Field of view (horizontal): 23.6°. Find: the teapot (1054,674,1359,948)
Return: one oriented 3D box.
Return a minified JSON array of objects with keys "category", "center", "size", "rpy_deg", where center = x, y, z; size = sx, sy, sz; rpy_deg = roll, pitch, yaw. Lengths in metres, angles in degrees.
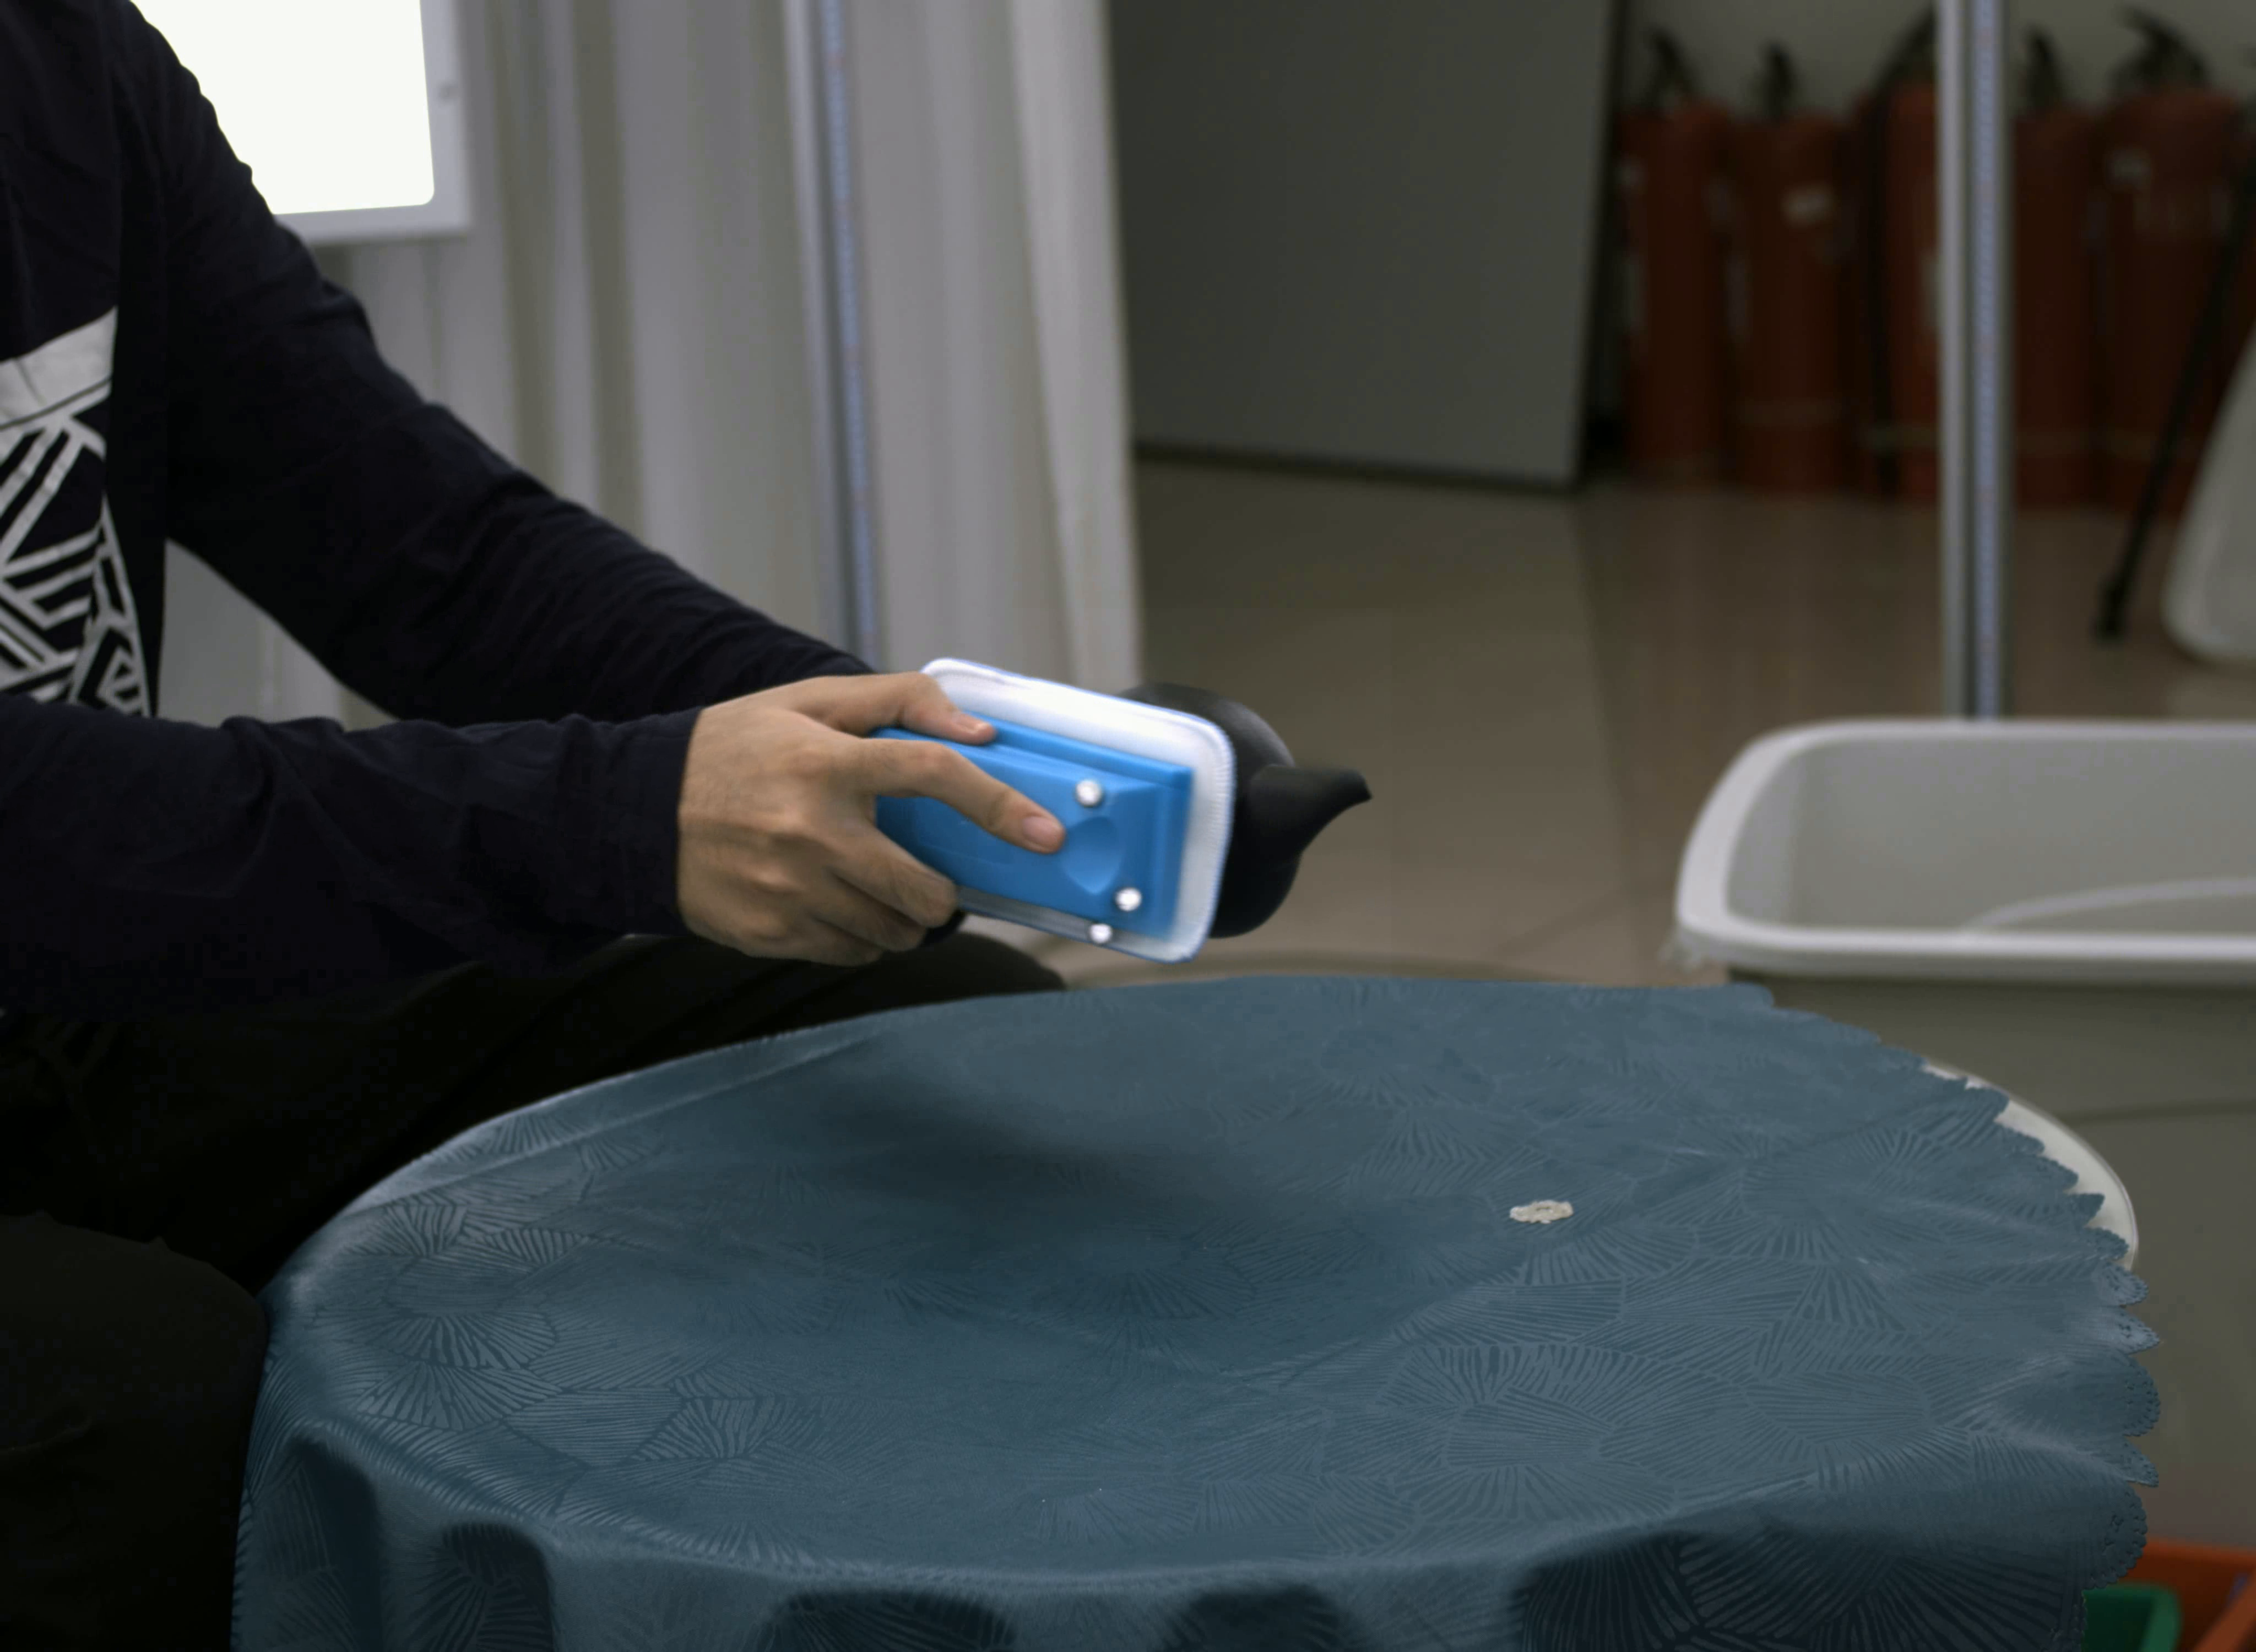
[{"category":"teapot","center":[0.013,-0.006,1.757],"size":[0.052,0.092,0.134],"rpy_deg":[-24,19,-39]}]

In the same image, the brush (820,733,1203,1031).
[{"category":"brush","center":[-0.045,0.014,1.717],"size":[0.144,0.085,0.055],"rpy_deg":[-11,-15,29]}]
